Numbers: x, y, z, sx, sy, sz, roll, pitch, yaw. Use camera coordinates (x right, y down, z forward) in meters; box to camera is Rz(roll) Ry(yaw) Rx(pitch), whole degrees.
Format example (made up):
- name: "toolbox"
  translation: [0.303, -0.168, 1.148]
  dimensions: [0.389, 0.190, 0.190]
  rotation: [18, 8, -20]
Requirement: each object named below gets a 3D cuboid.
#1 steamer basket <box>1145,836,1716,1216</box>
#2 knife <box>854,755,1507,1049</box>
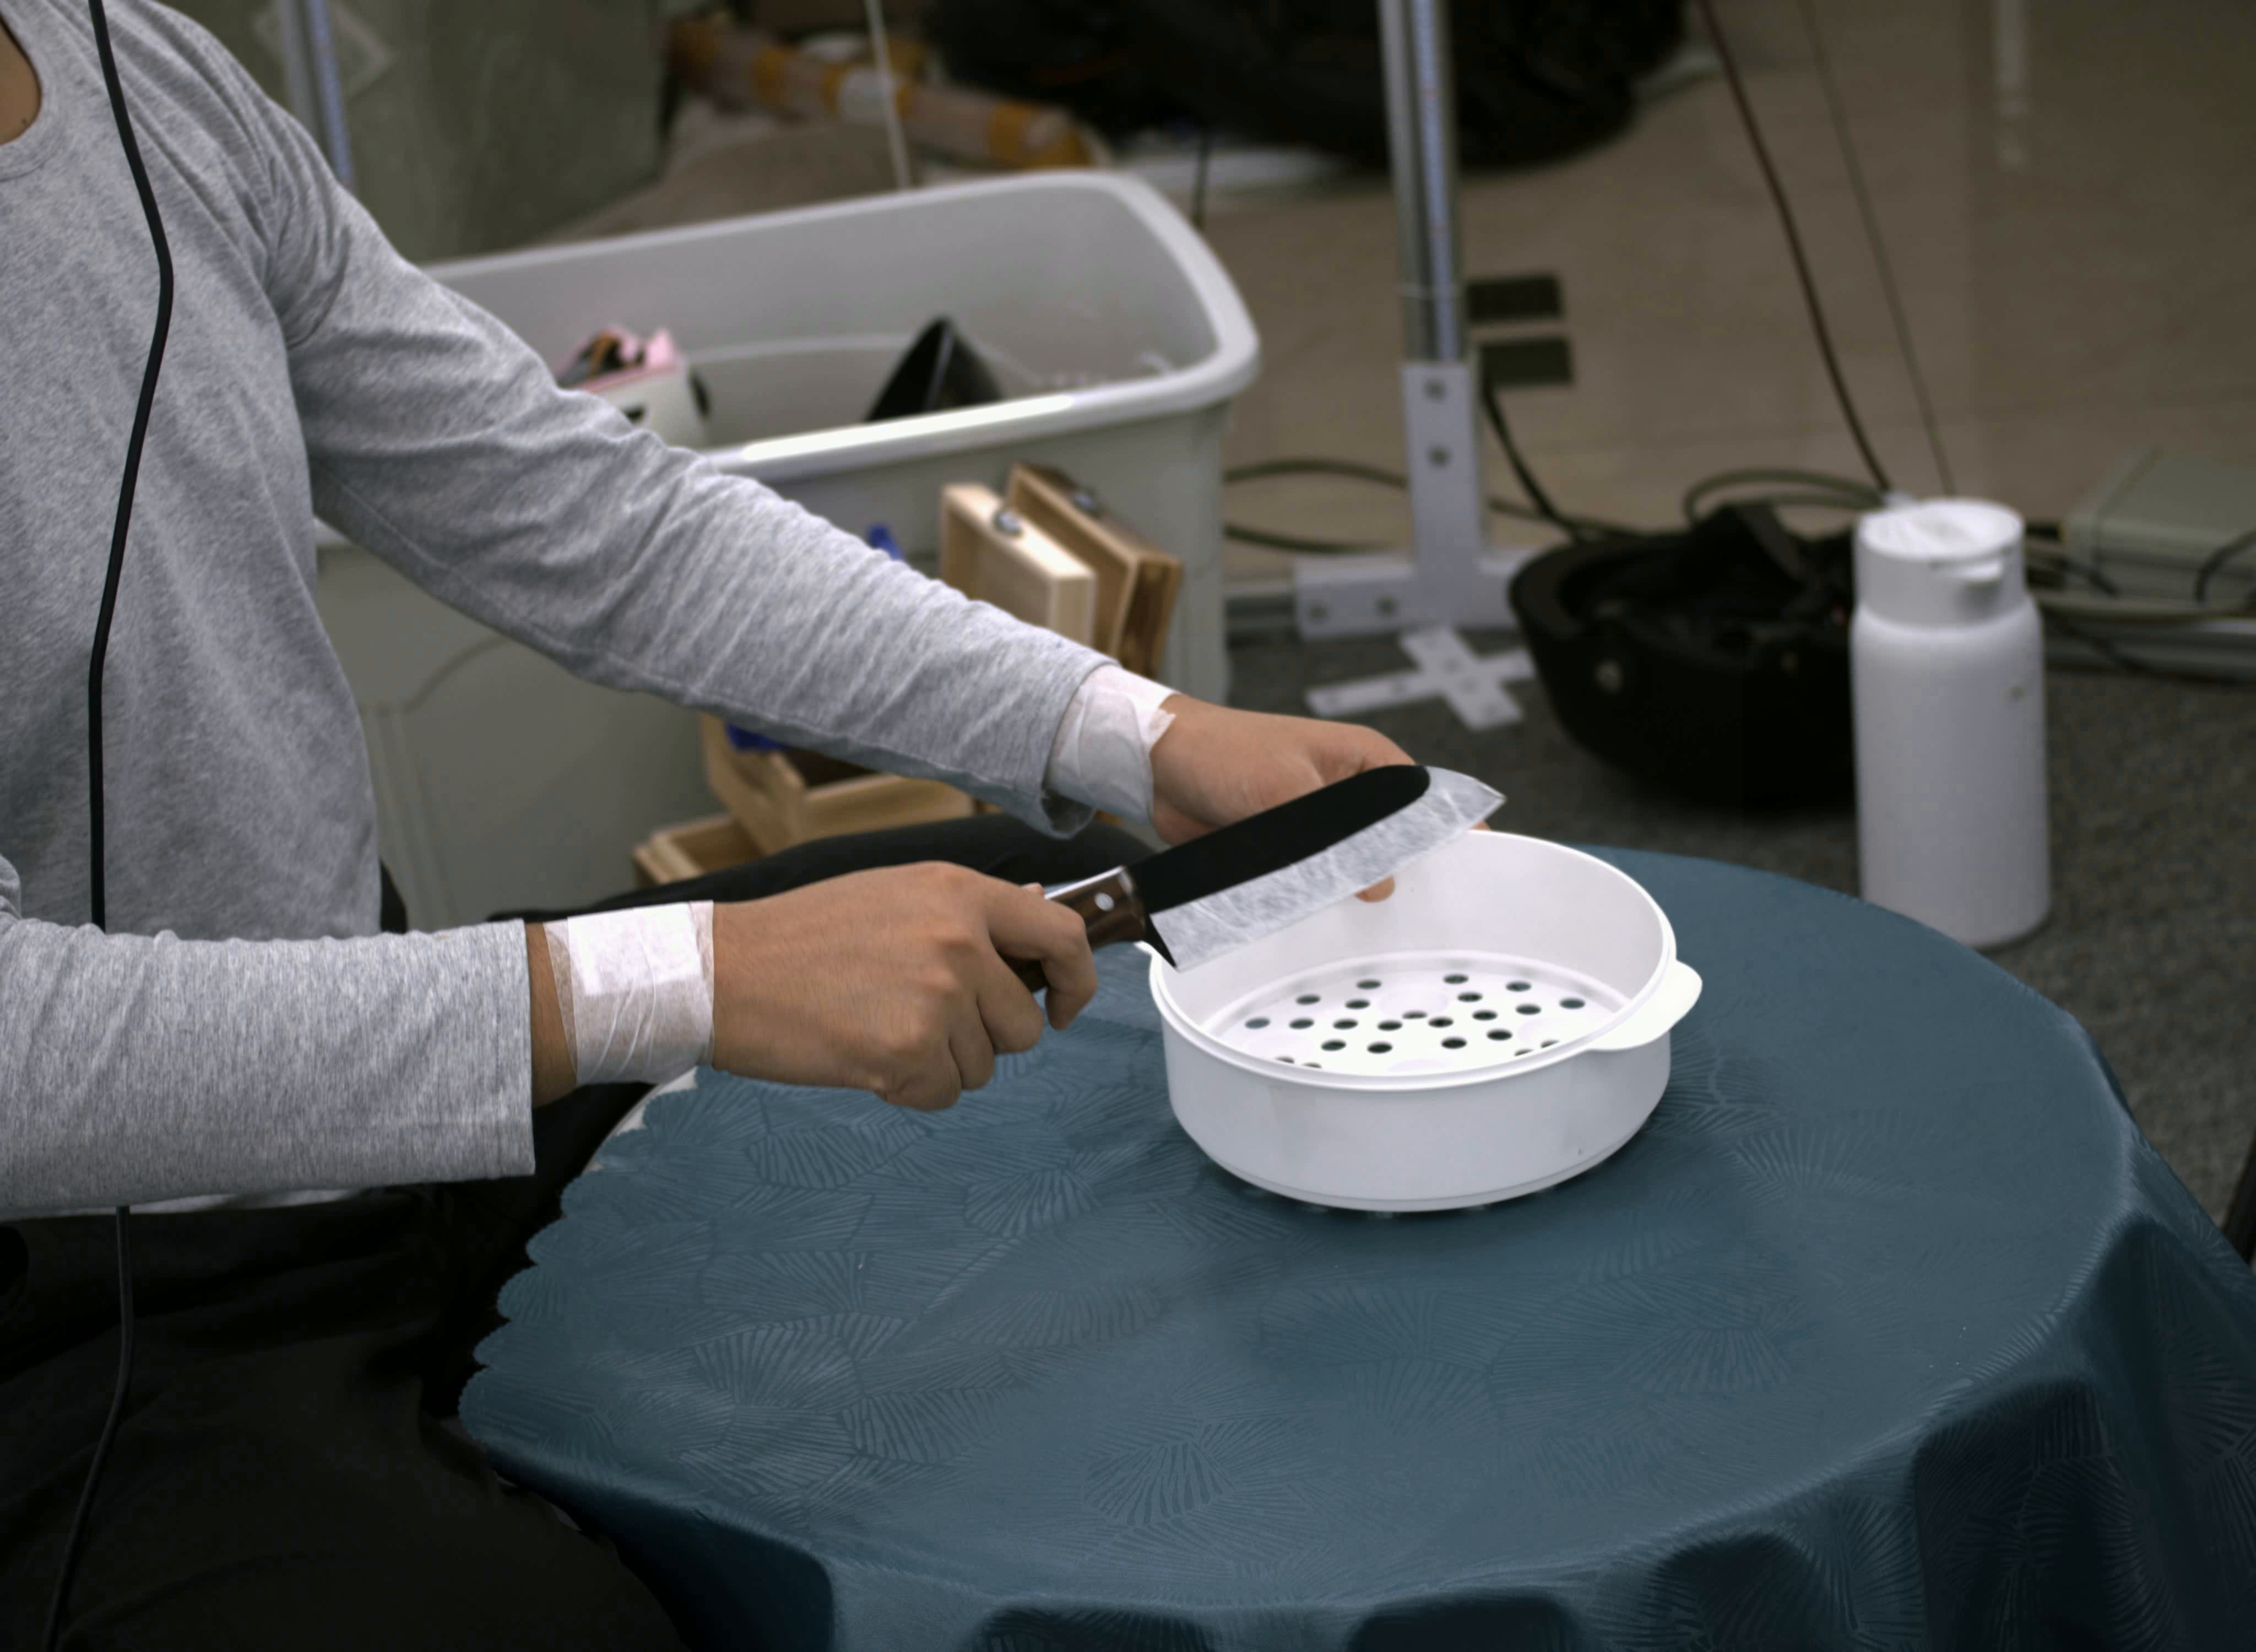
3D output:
- name: "steamer basket"
  translation: [0.114, 0.077, 2.170]
  dimensions: [0.229, 0.070, 0.199]
  rotation: [11, 31, 30]
- name: "knife"
  translation: [0.024, 0.026, 2.033]
  dimensions: [0.287, 0.050, 0.020]
  rotation: [-19, -15, -32]
